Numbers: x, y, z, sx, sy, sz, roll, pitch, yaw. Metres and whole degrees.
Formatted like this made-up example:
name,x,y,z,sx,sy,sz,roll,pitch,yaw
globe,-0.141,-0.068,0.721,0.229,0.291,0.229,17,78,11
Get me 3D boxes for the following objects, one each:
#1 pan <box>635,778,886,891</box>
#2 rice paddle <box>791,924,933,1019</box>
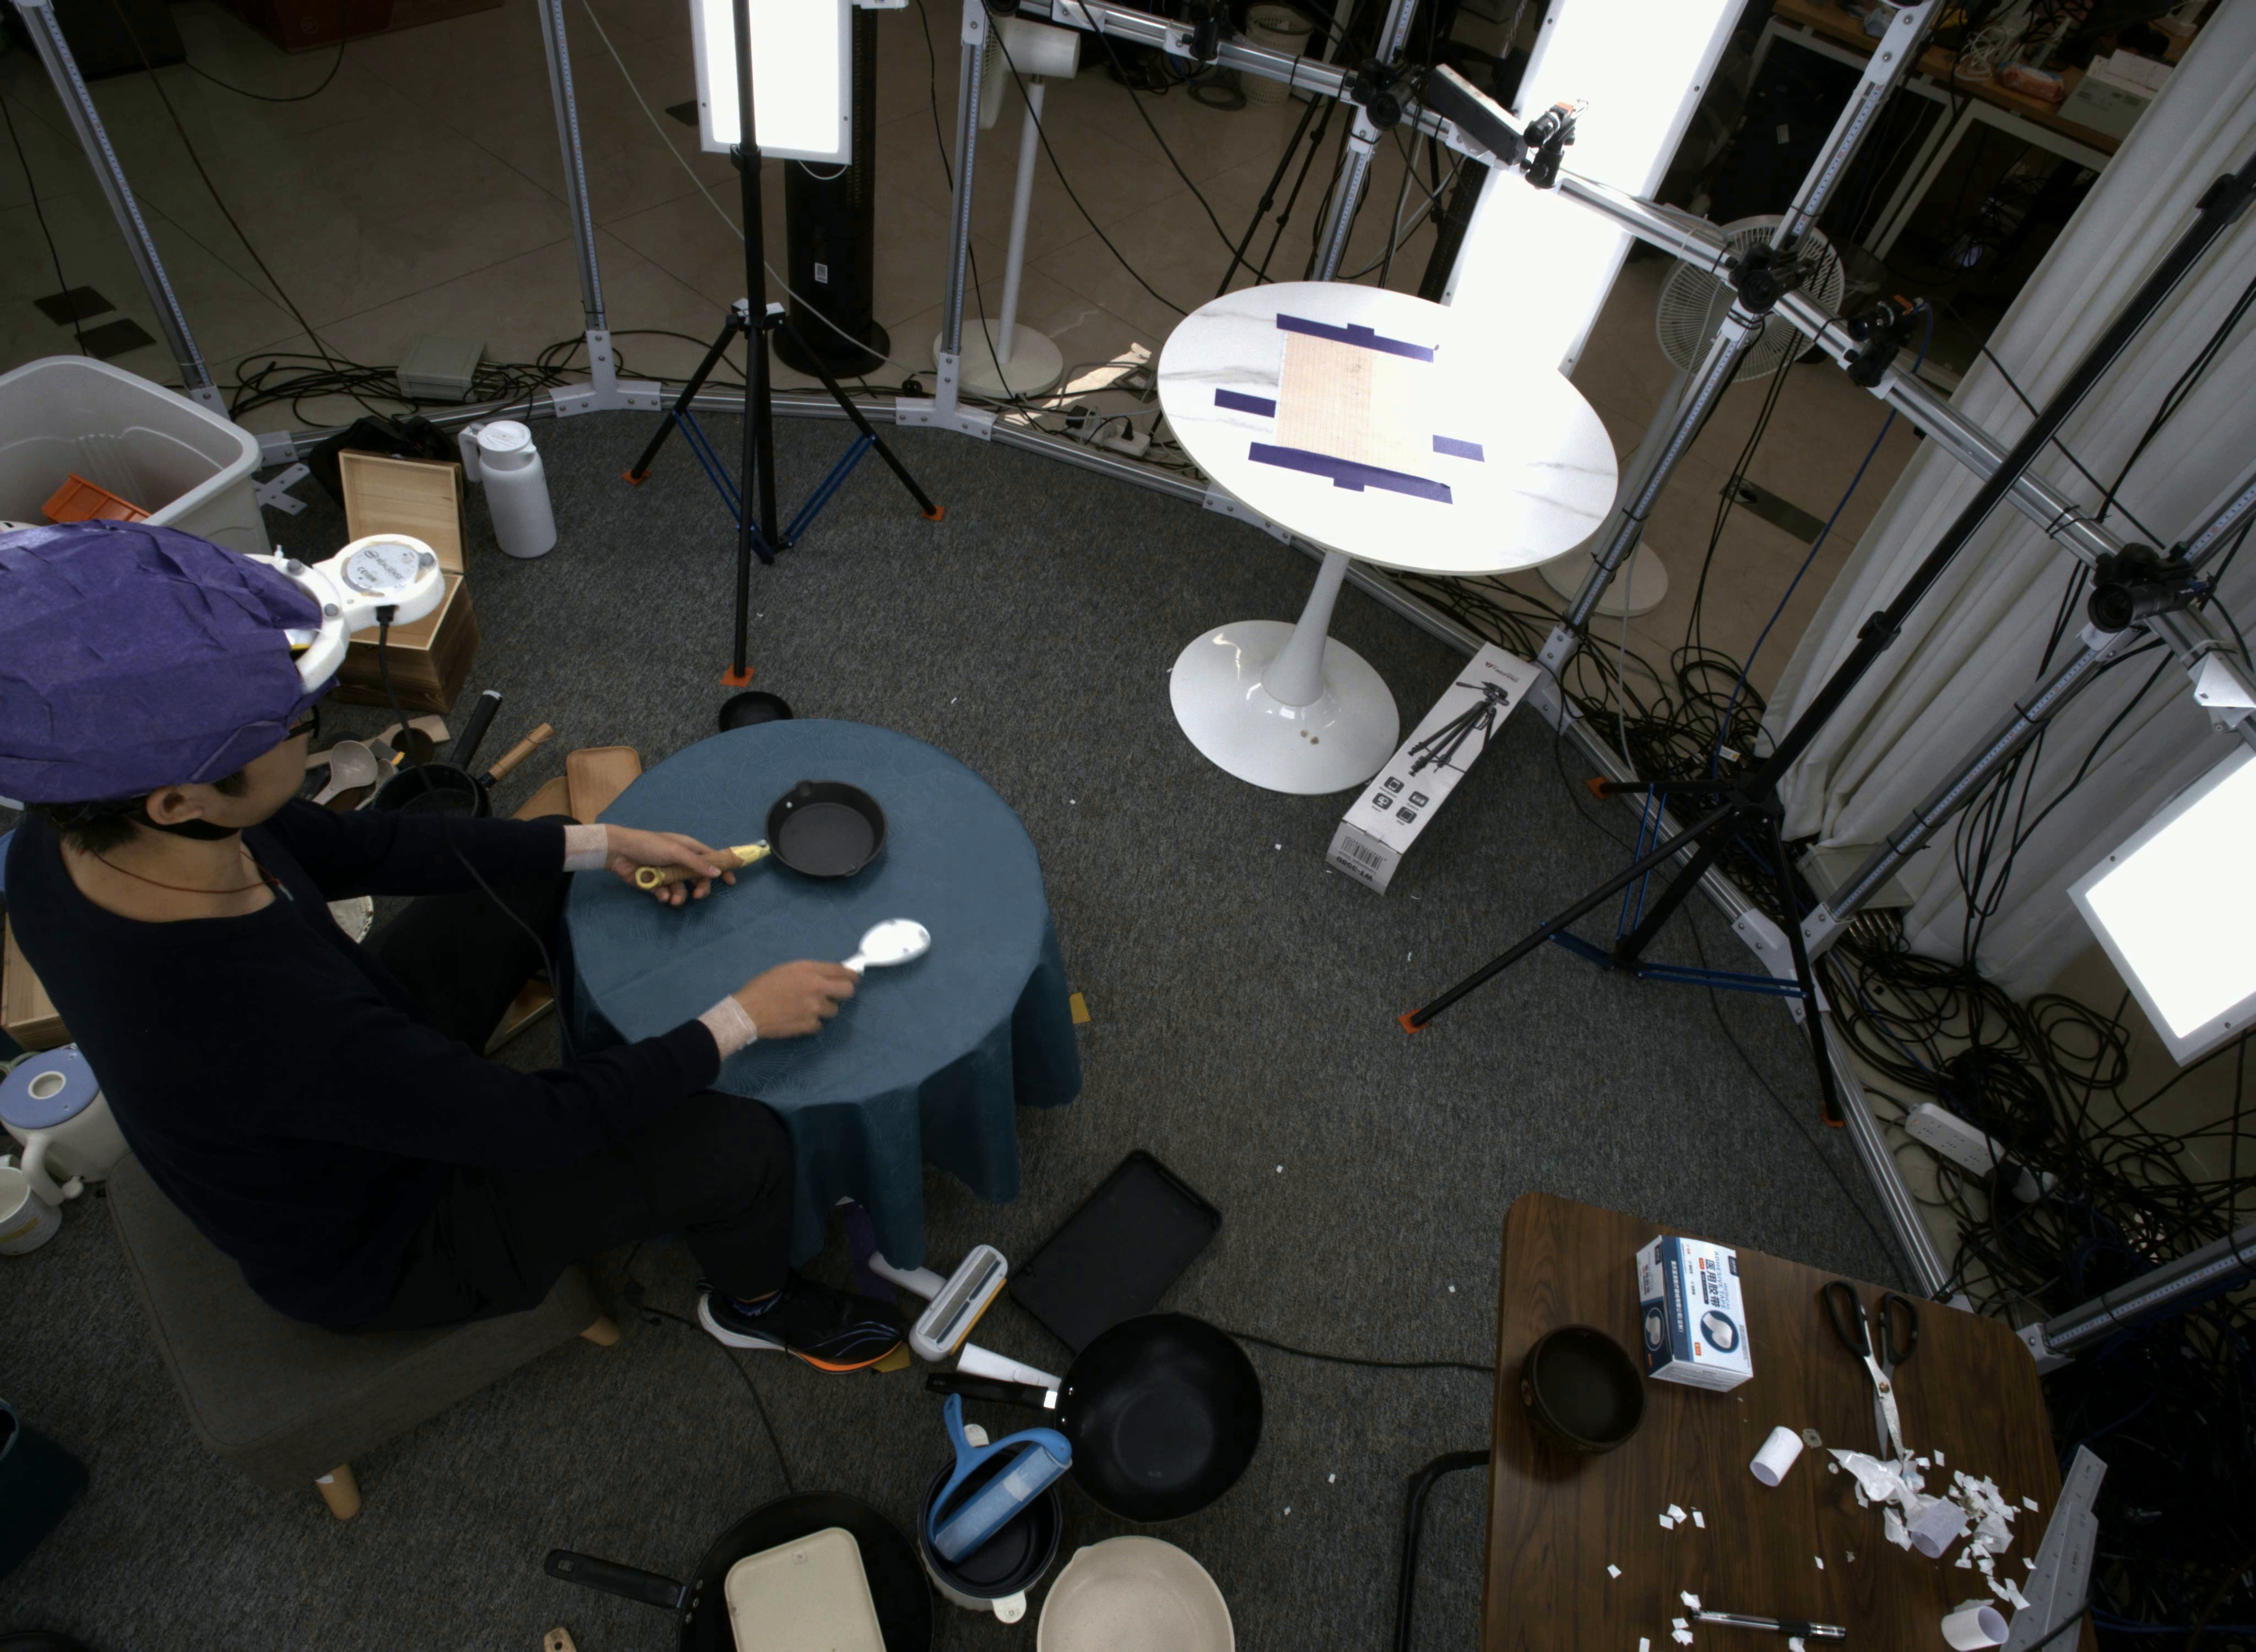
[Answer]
name,x,y,z,sx,sy,sz,roll,pitch,yaw
pan,-0.467,0.027,1.649,0.326,0.050,0.165,-17,60,-27
rice paddle,-0.320,0.169,1.580,0.067,0.030,0.206,36,43,22
